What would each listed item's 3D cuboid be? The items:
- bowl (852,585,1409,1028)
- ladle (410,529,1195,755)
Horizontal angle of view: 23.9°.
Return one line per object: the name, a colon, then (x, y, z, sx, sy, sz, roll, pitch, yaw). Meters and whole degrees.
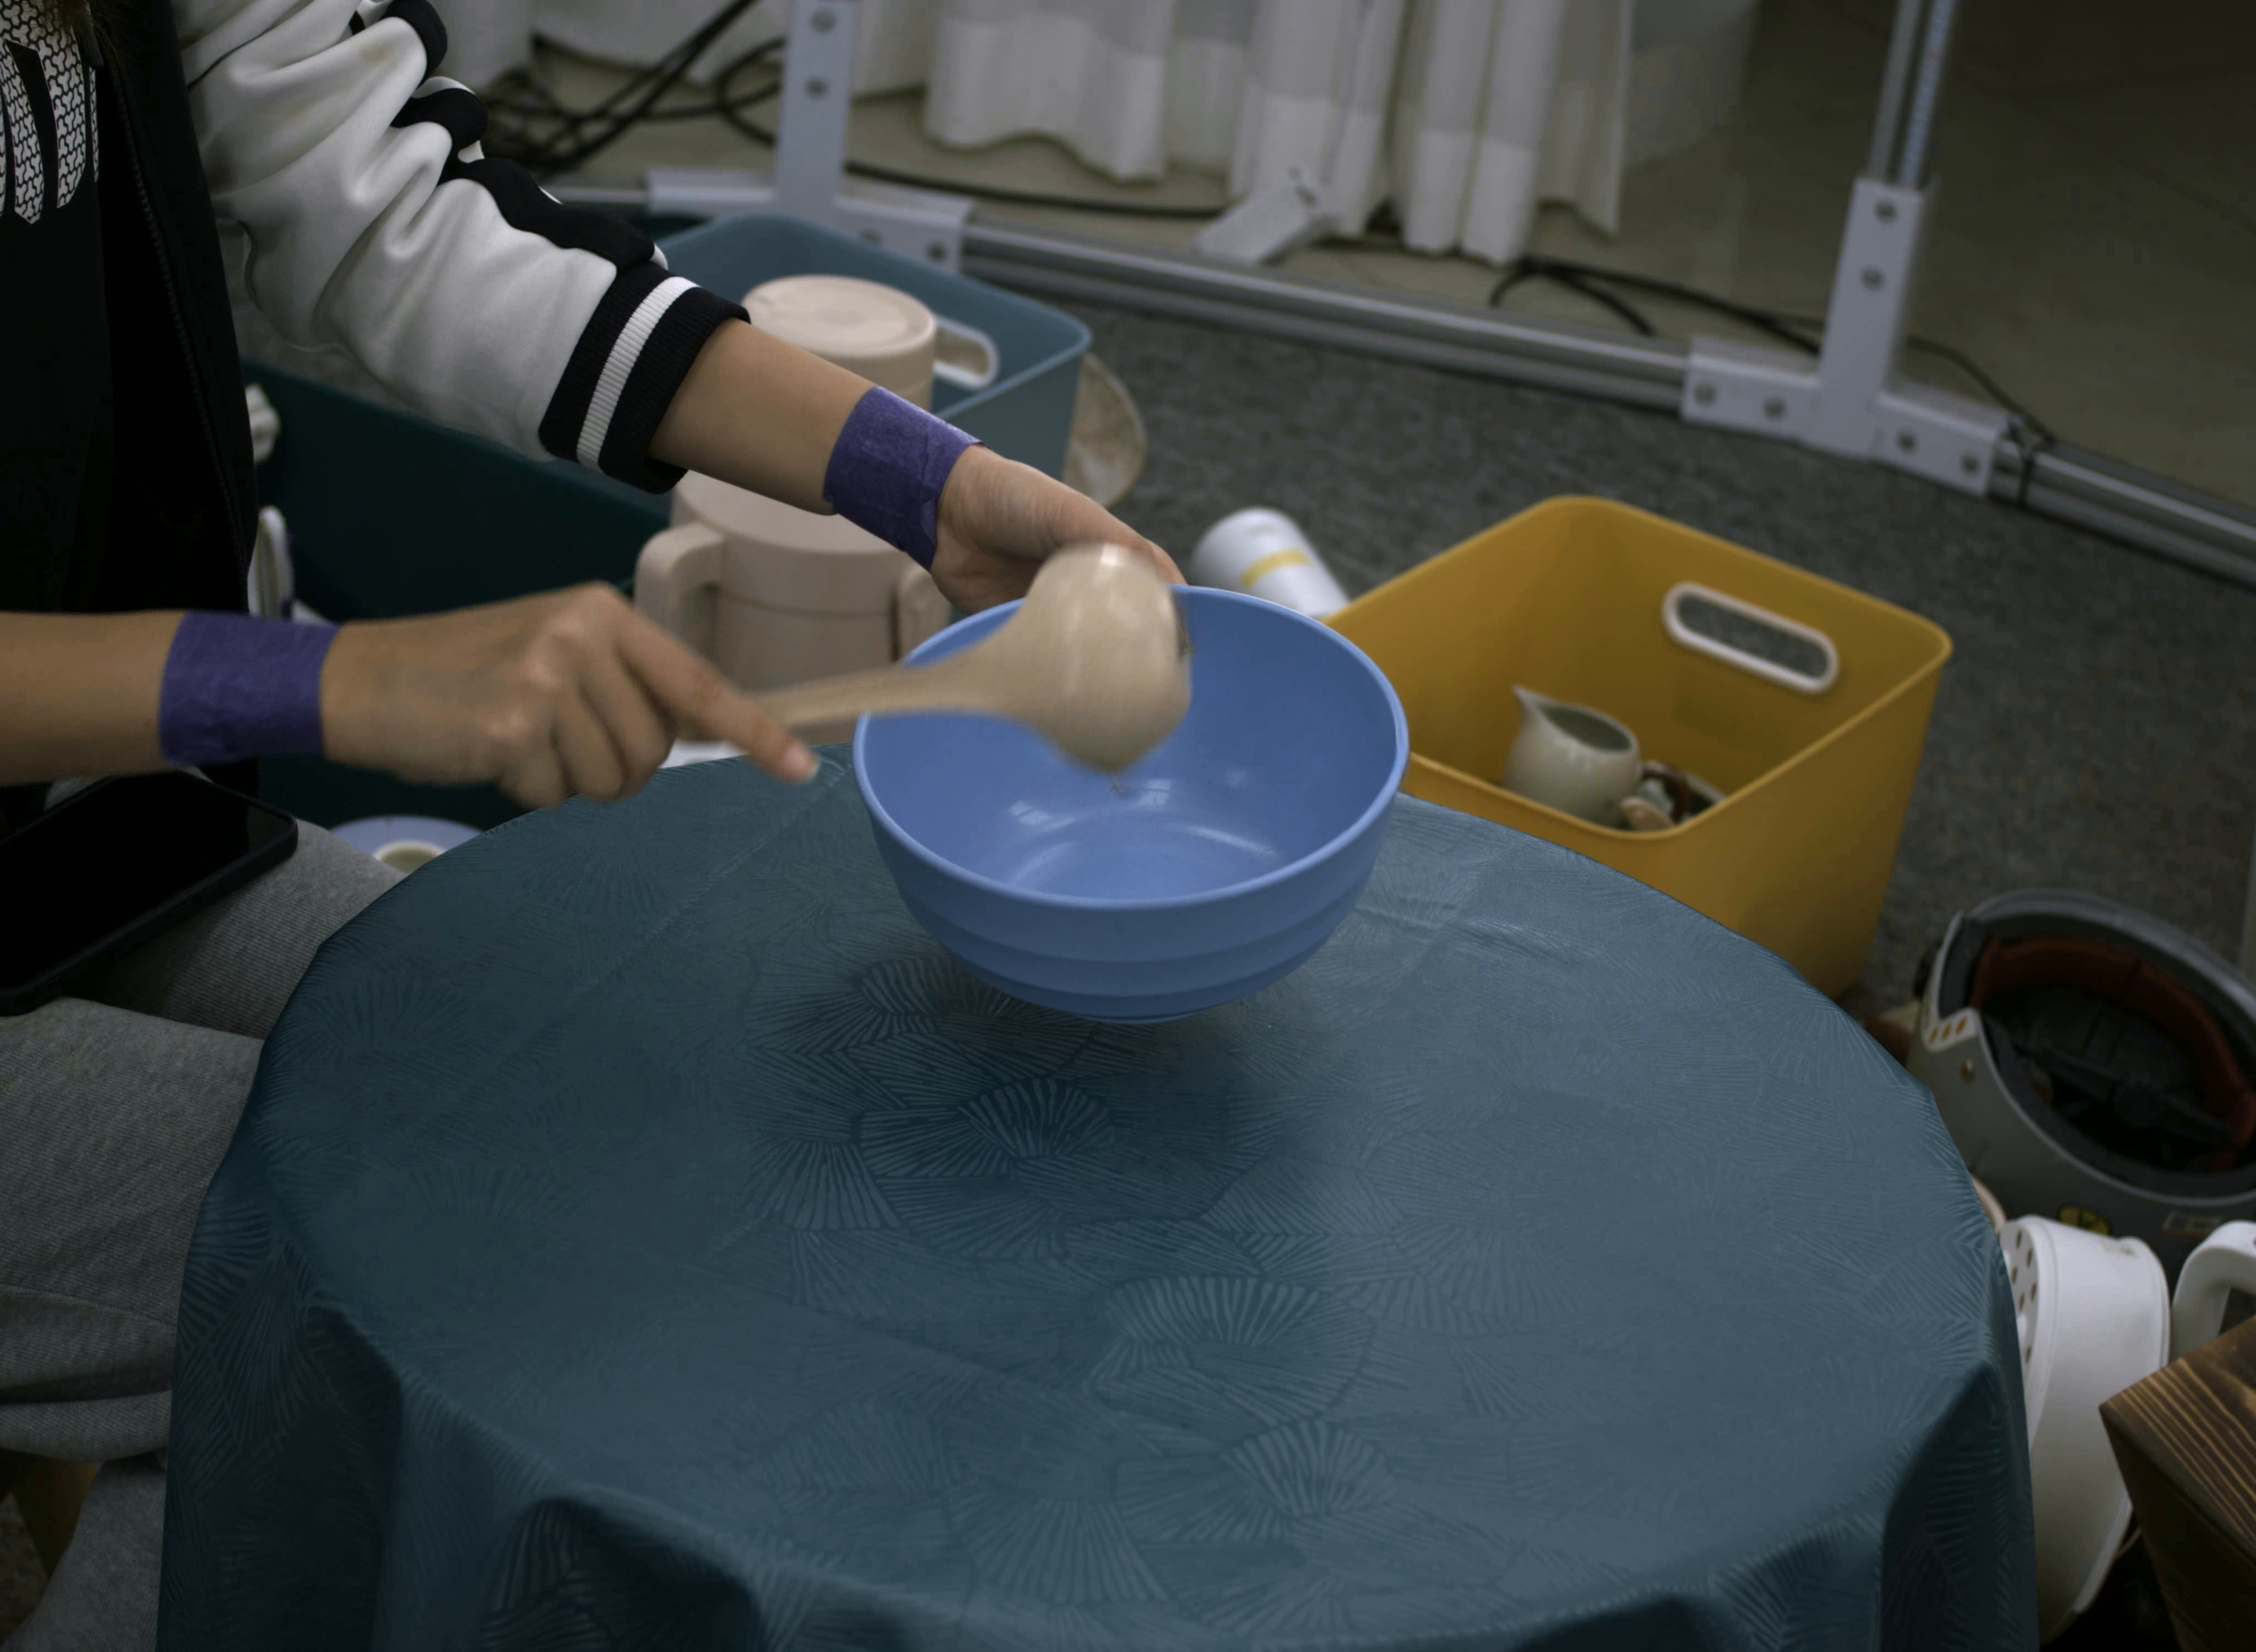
bowl: (0.002, 0.008, 1.897, 0.196, 0.095, 0.198, -1, 37, 1)
ladle: (-0.103, -0.048, 1.738, 0.254, 0.072, 0.072, -7, 3, 14)
